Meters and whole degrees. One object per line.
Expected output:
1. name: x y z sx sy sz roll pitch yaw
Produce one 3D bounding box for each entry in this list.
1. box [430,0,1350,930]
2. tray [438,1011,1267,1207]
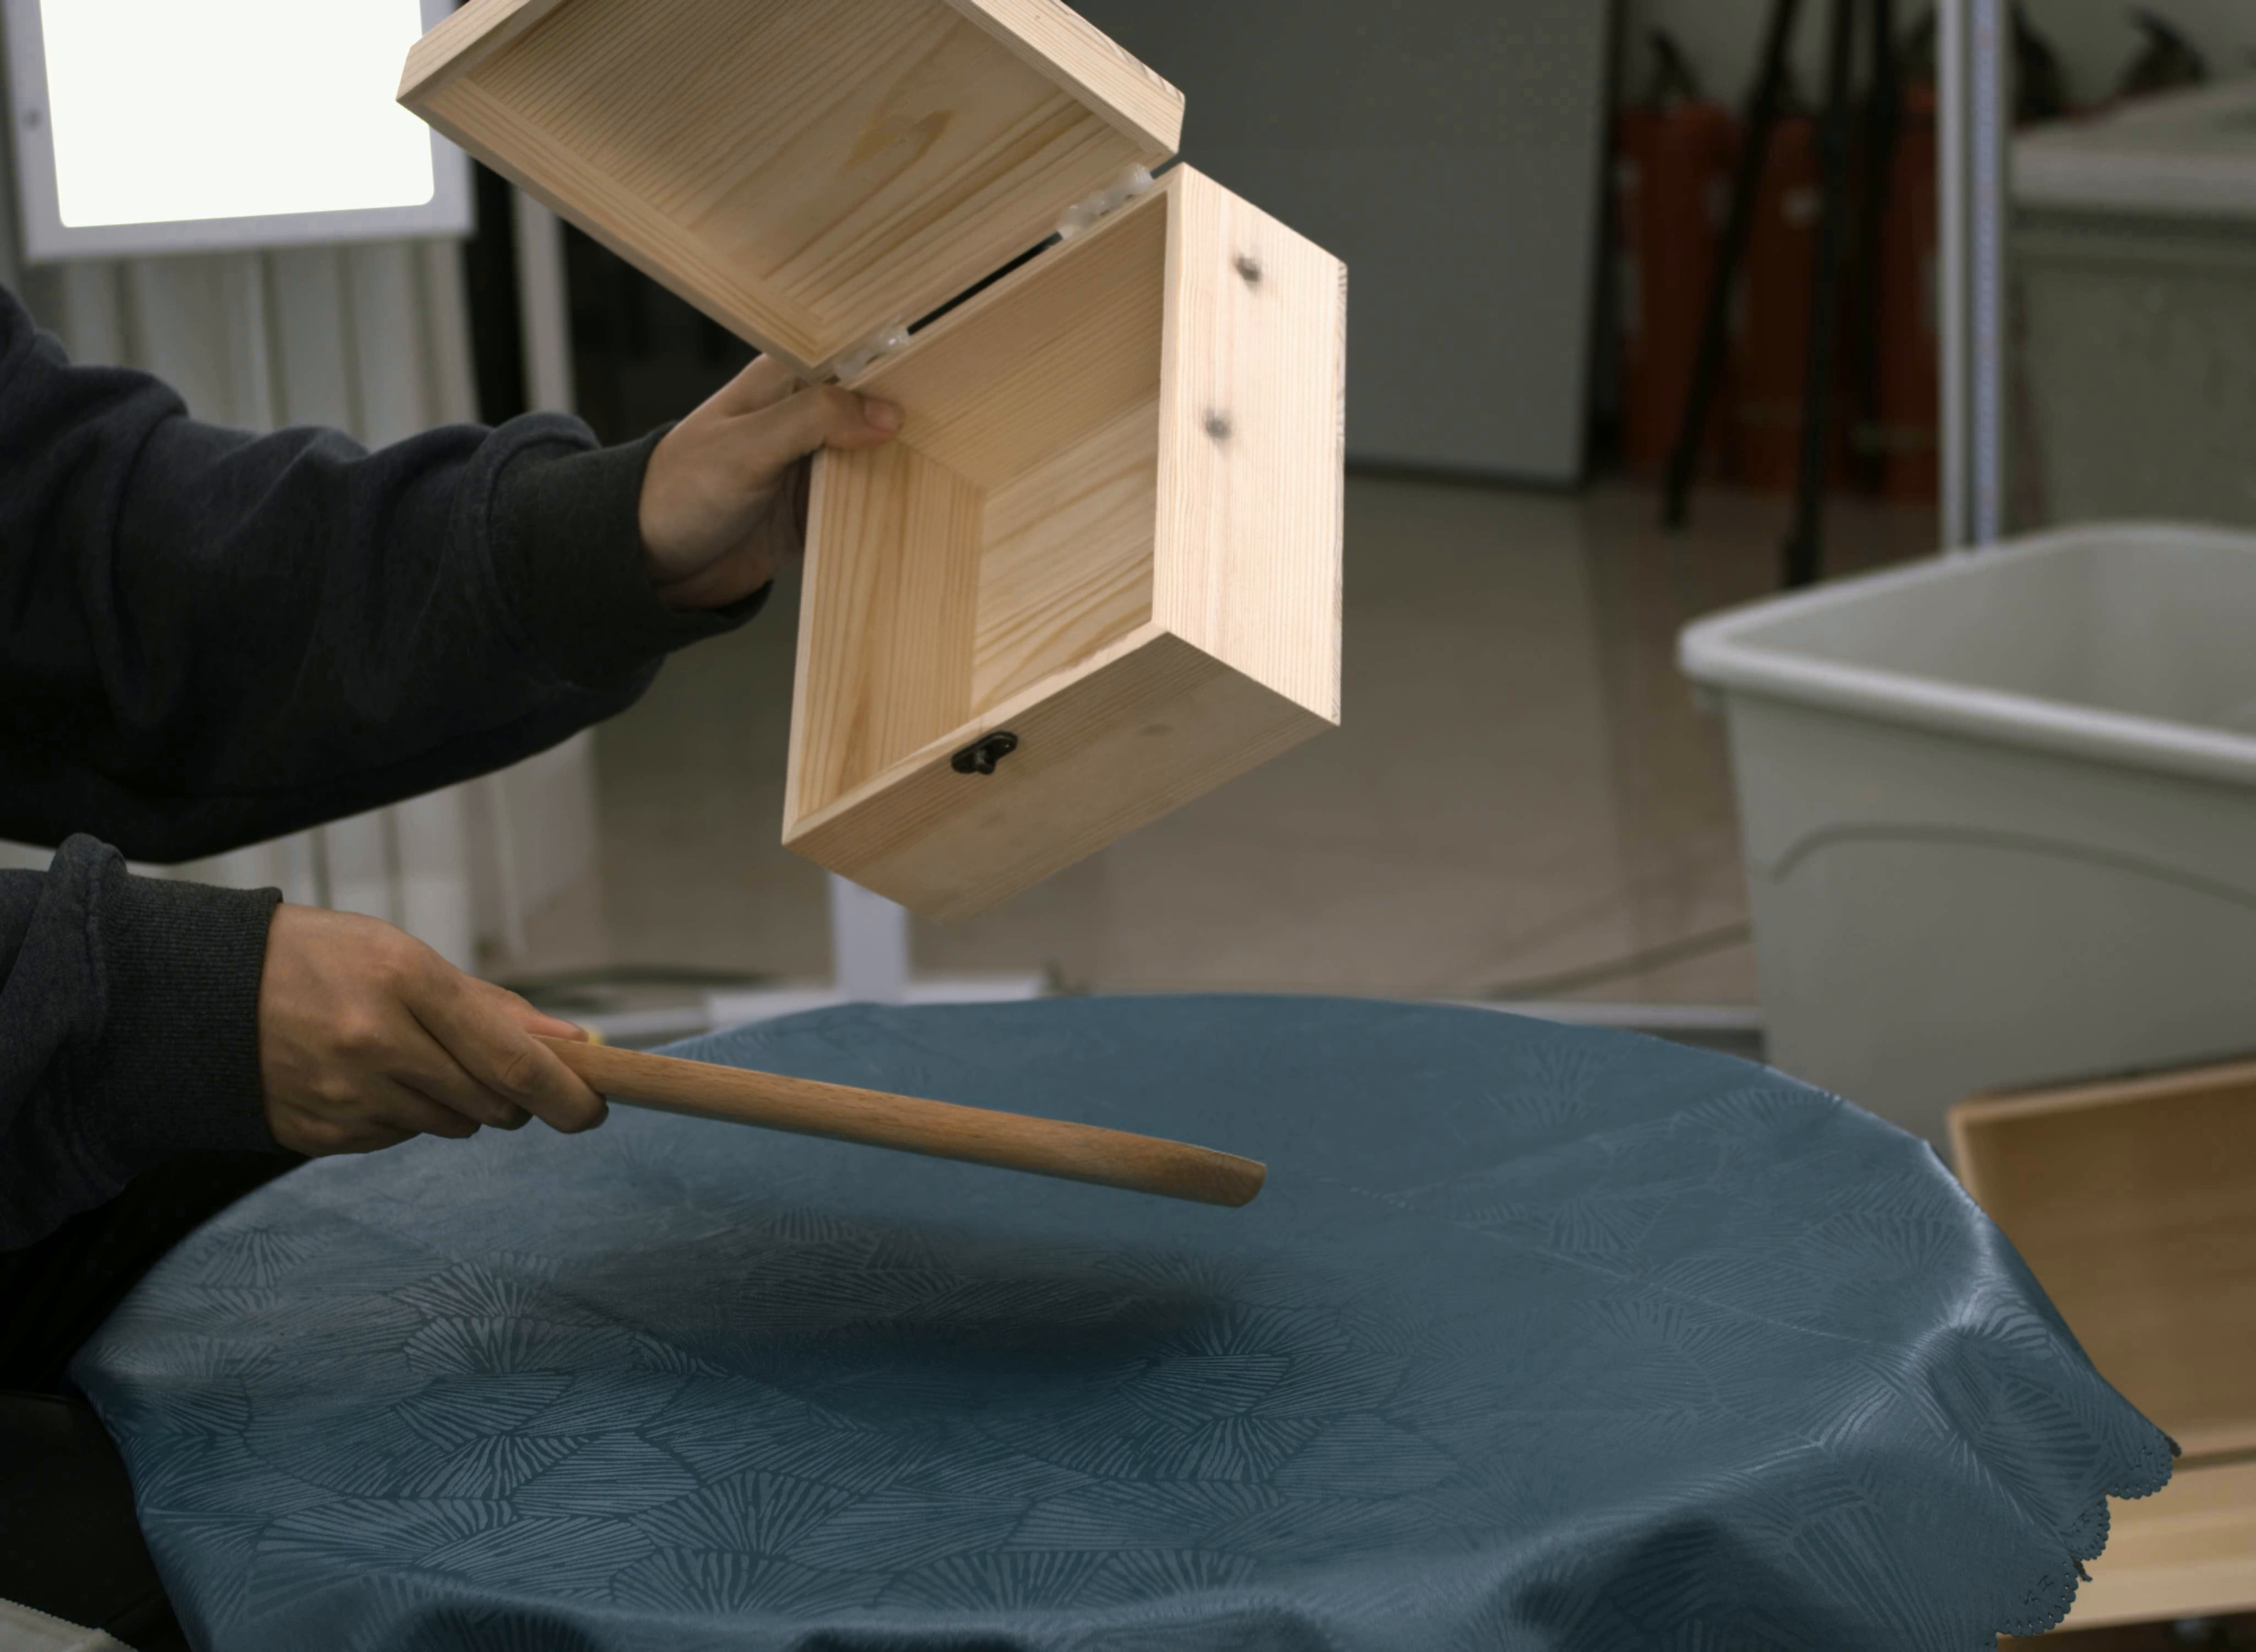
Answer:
1. box: -0.081 -0.154 1.705 0.248 0.267 0.183 27 -41 -31
2. tray: -0.086 0.087 1.659 0.251 0.023 0.129 7 -9 25
